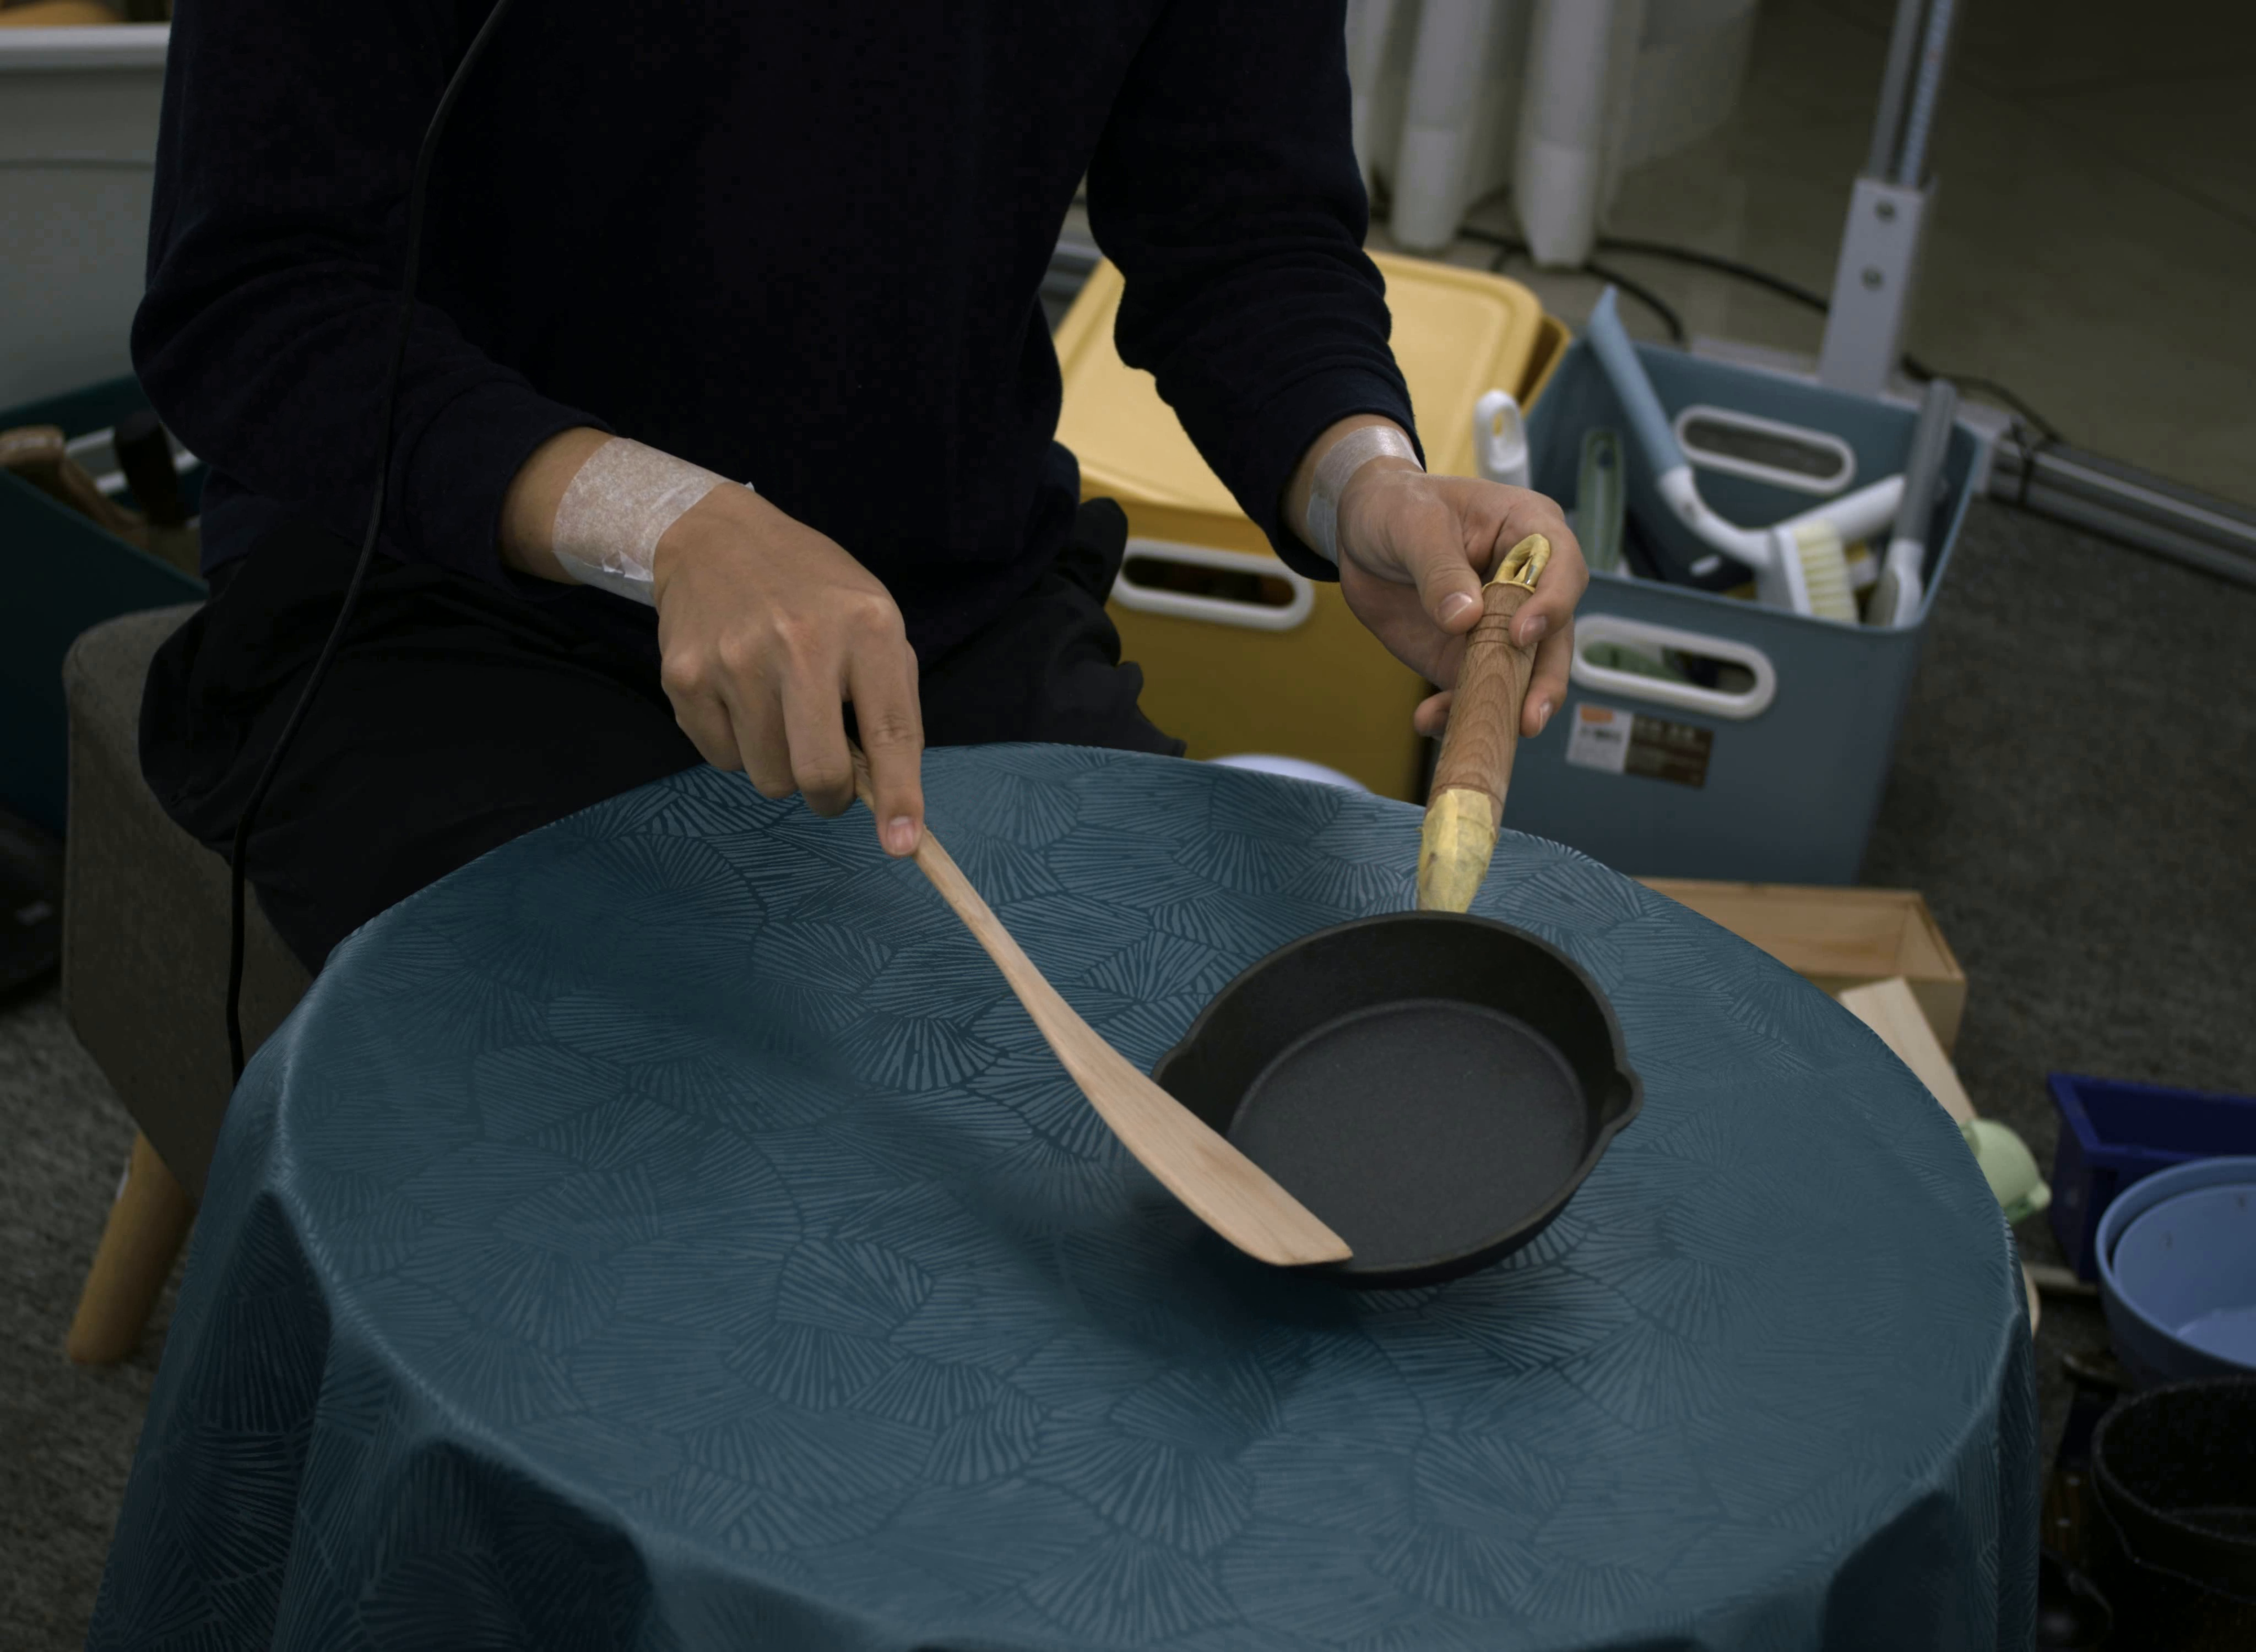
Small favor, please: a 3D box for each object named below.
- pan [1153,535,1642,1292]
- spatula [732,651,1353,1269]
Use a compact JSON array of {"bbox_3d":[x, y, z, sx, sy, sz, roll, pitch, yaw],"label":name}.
[{"bbox_3d":[0.111,0.029,1.833,0.169,0.049,0.326,3,49,19],"label":"pan"},{"bbox_3d":[-0.036,0.043,1.795,0.330,0.016,0.079,48,17,29],"label":"spatula"}]
